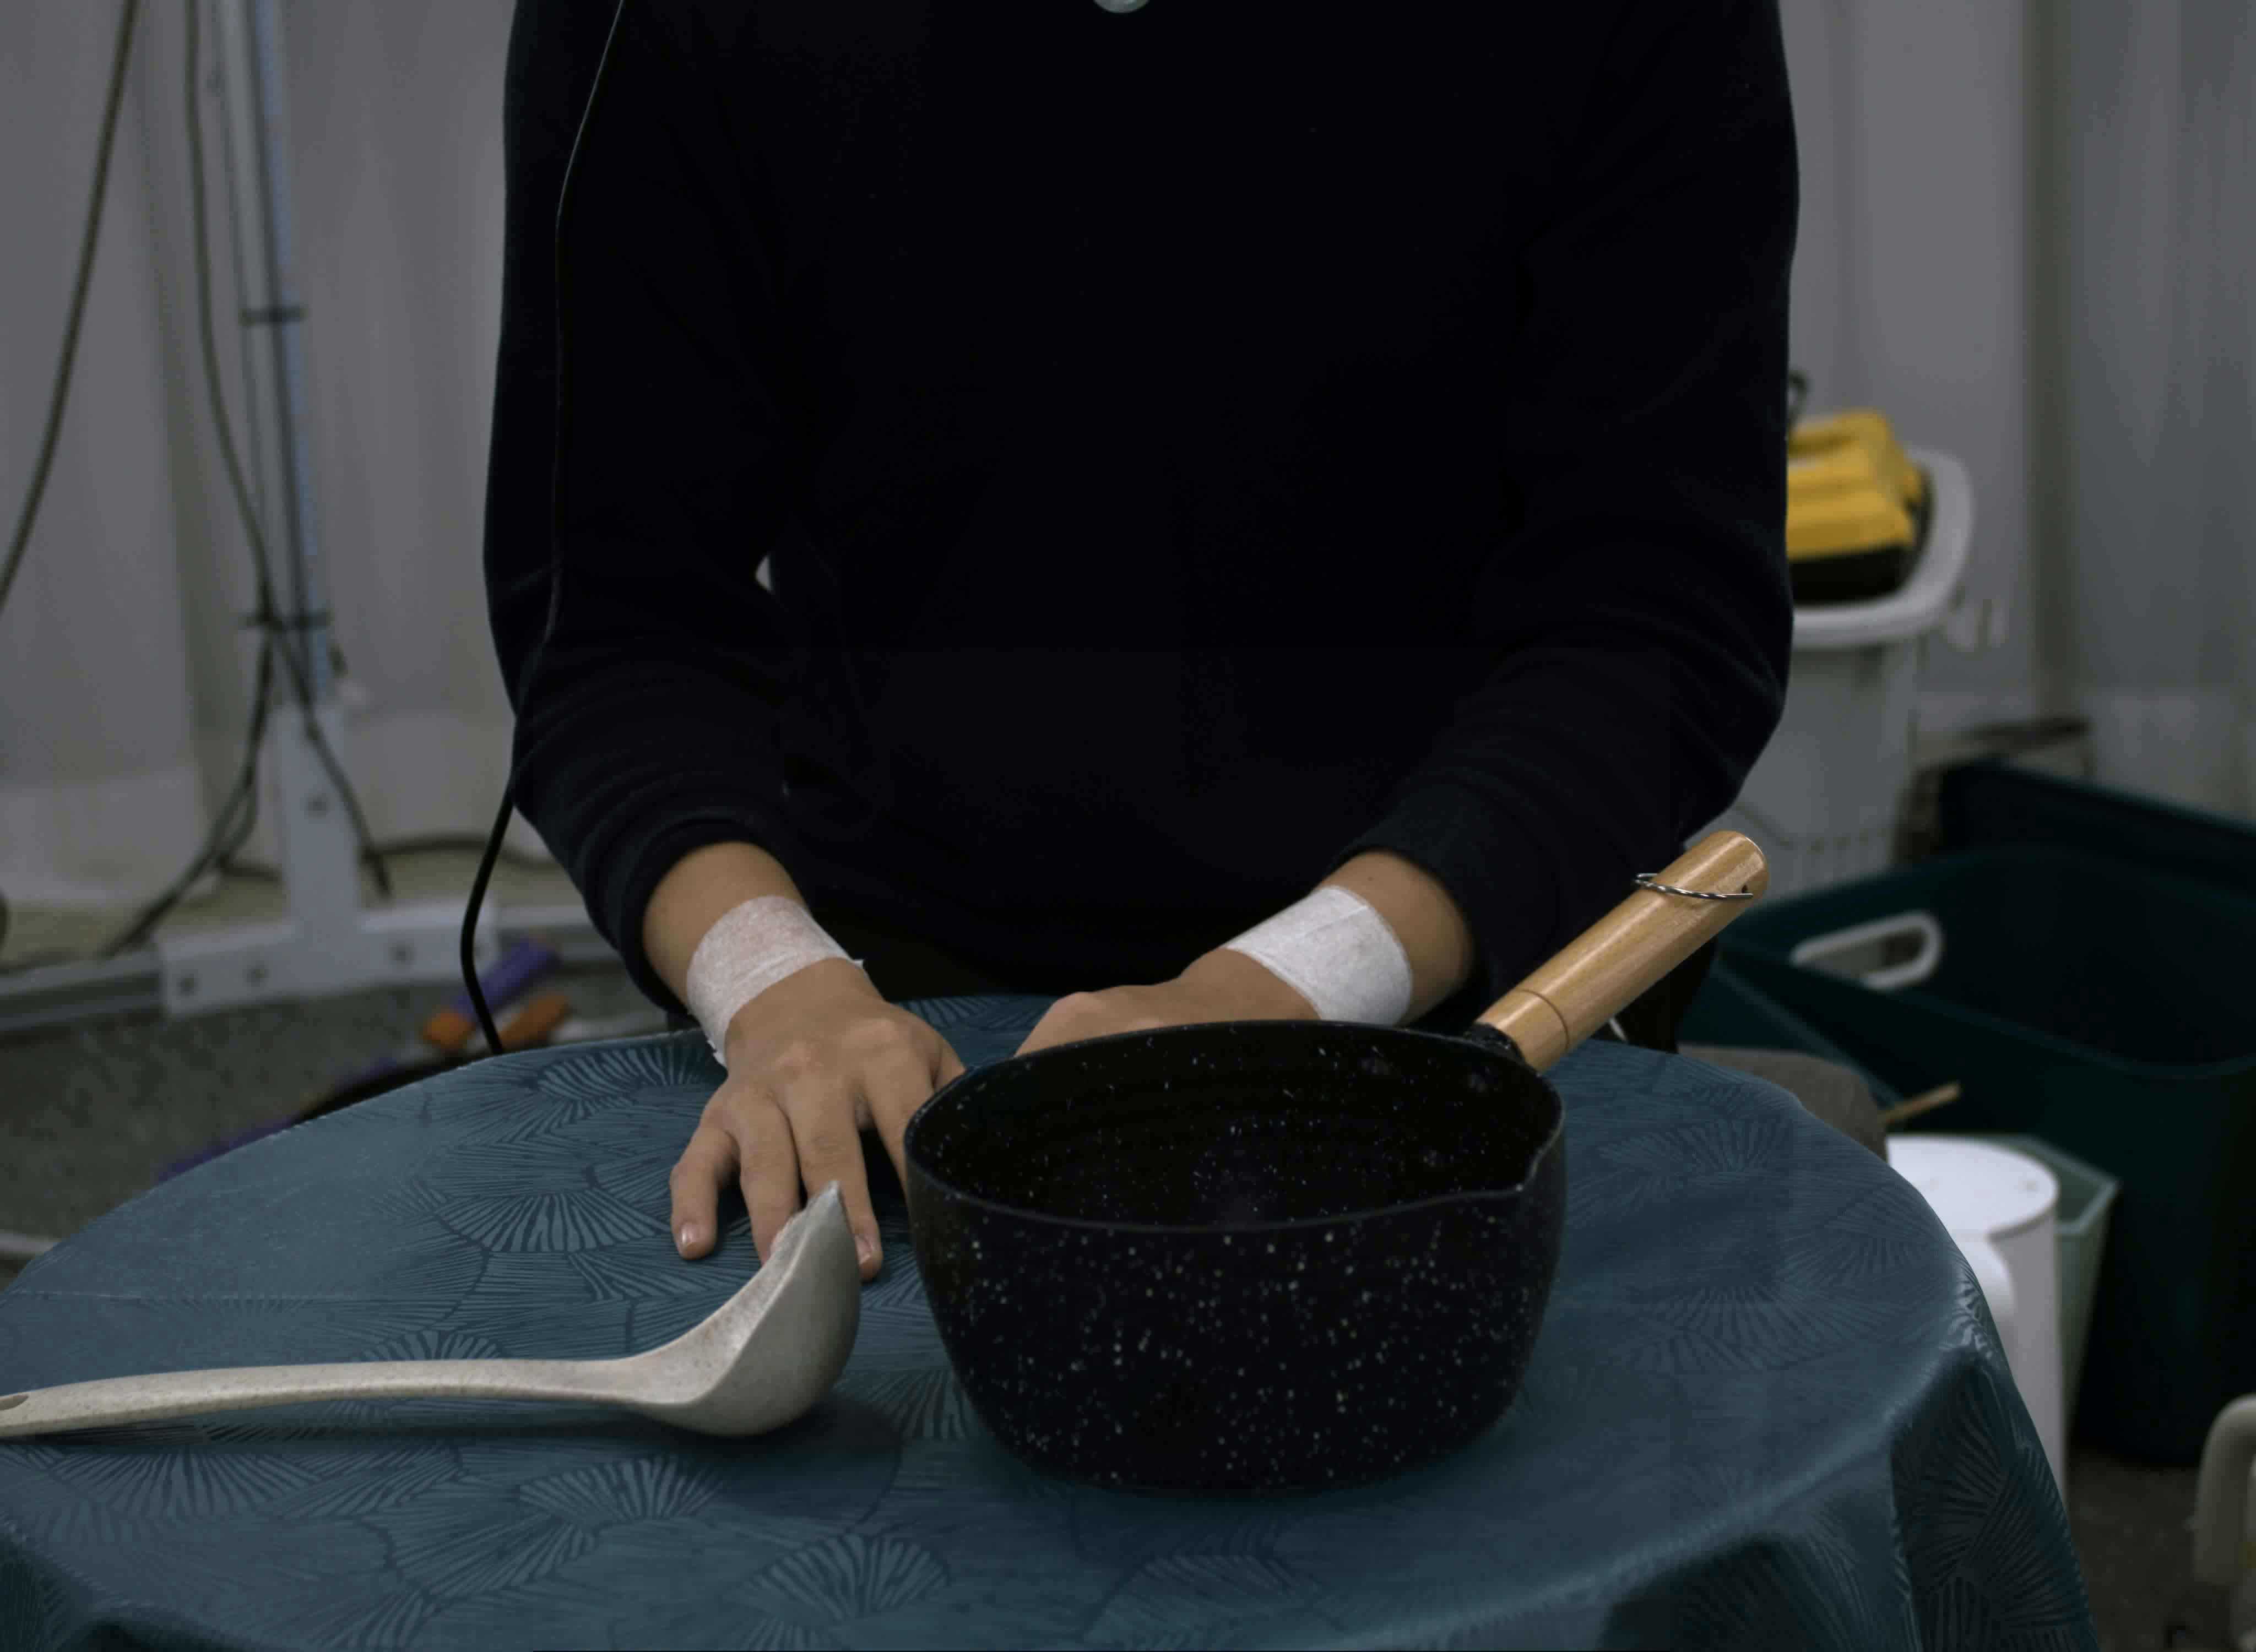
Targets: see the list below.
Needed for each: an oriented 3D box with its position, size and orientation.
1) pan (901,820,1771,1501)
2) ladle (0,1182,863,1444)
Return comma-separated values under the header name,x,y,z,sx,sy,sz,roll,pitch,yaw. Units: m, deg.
name,x,y,z,sx,sy,sz,roll,pitch,yaw
pan,0.081,0.091,1.579,0.208,0.108,0.342,8,20,39
ladle,-0.210,0.139,1.537,0.274,0.069,0.090,-2,22,6
